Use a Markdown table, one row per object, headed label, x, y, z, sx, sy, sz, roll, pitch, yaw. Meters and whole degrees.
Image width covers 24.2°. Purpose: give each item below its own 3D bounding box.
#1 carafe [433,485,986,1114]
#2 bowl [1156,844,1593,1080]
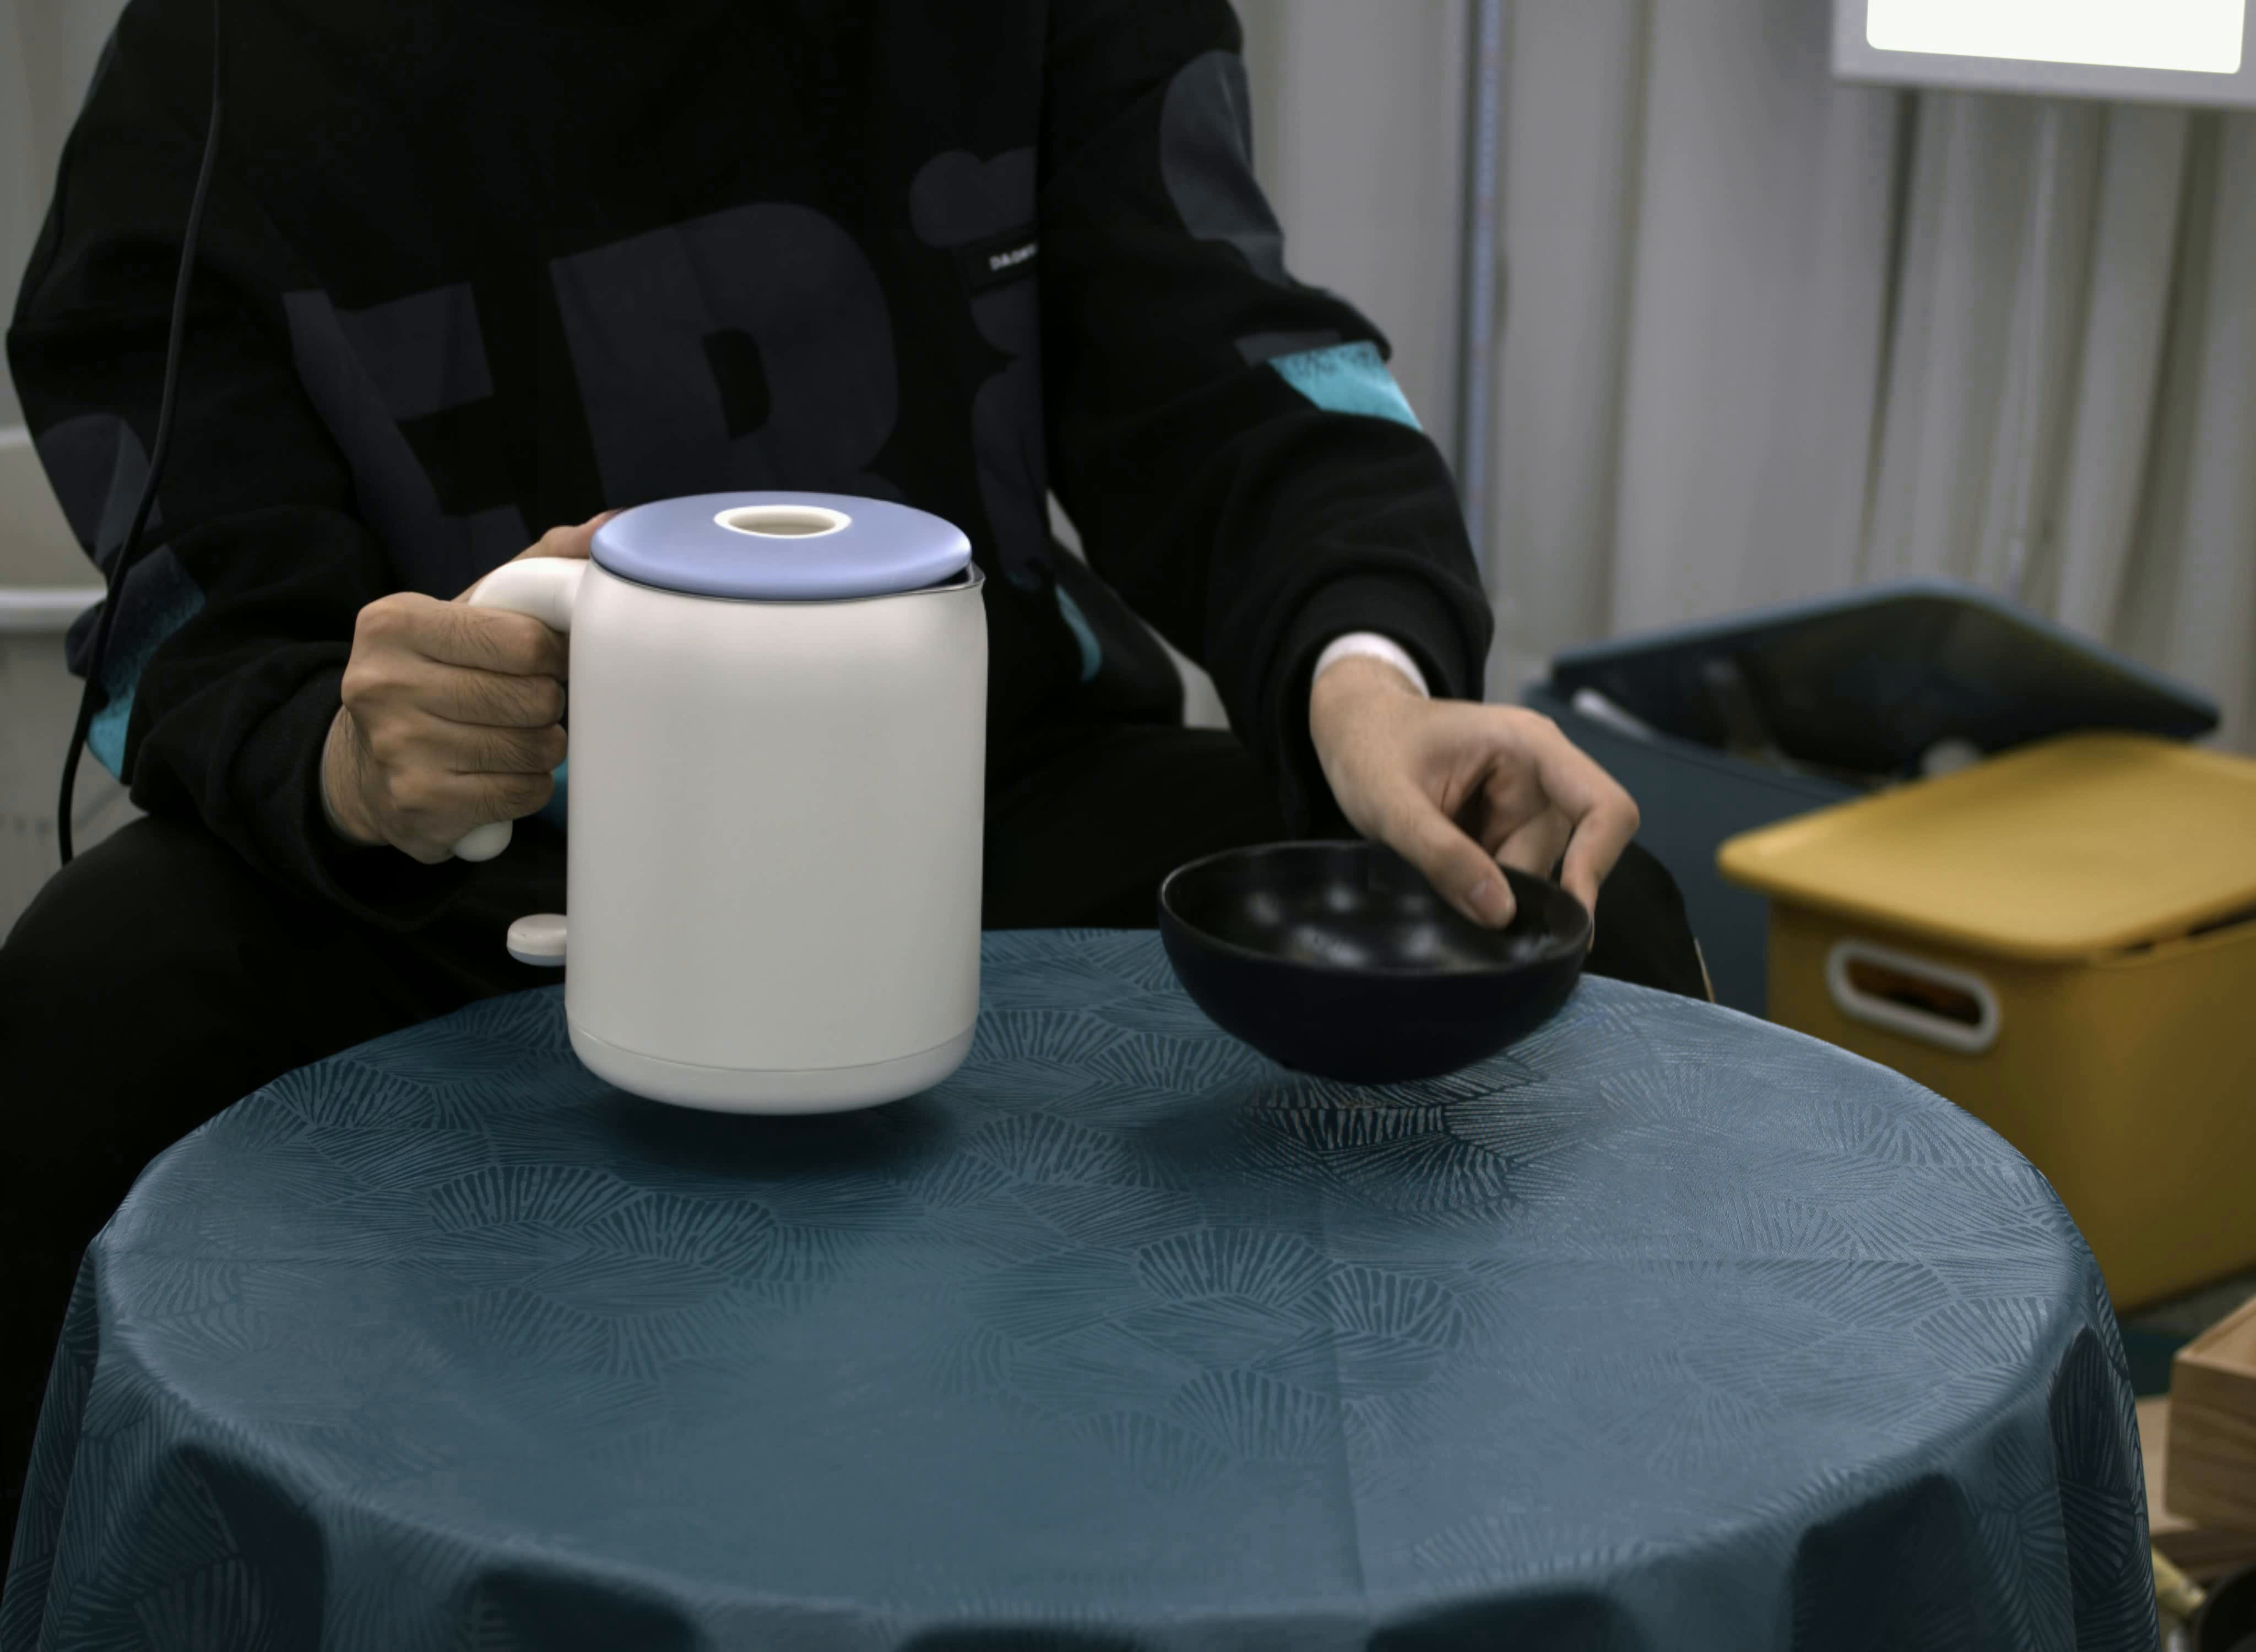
| label | x | y | z | sx | sy | sz | roll | pitch | yaw |
| --- | --- | --- | --- | --- | --- | --- | --- | --- | --- |
| carafe | -0.133 | -0.012 | 1.654 | 0.189 | 0.184 | 0.132 | 6 | 16 | 21 |
| bowl | 0.077 | 0.047 | 1.670 | 0.139 | 0.050 | 0.139 | 2 | 15 | 0 |
